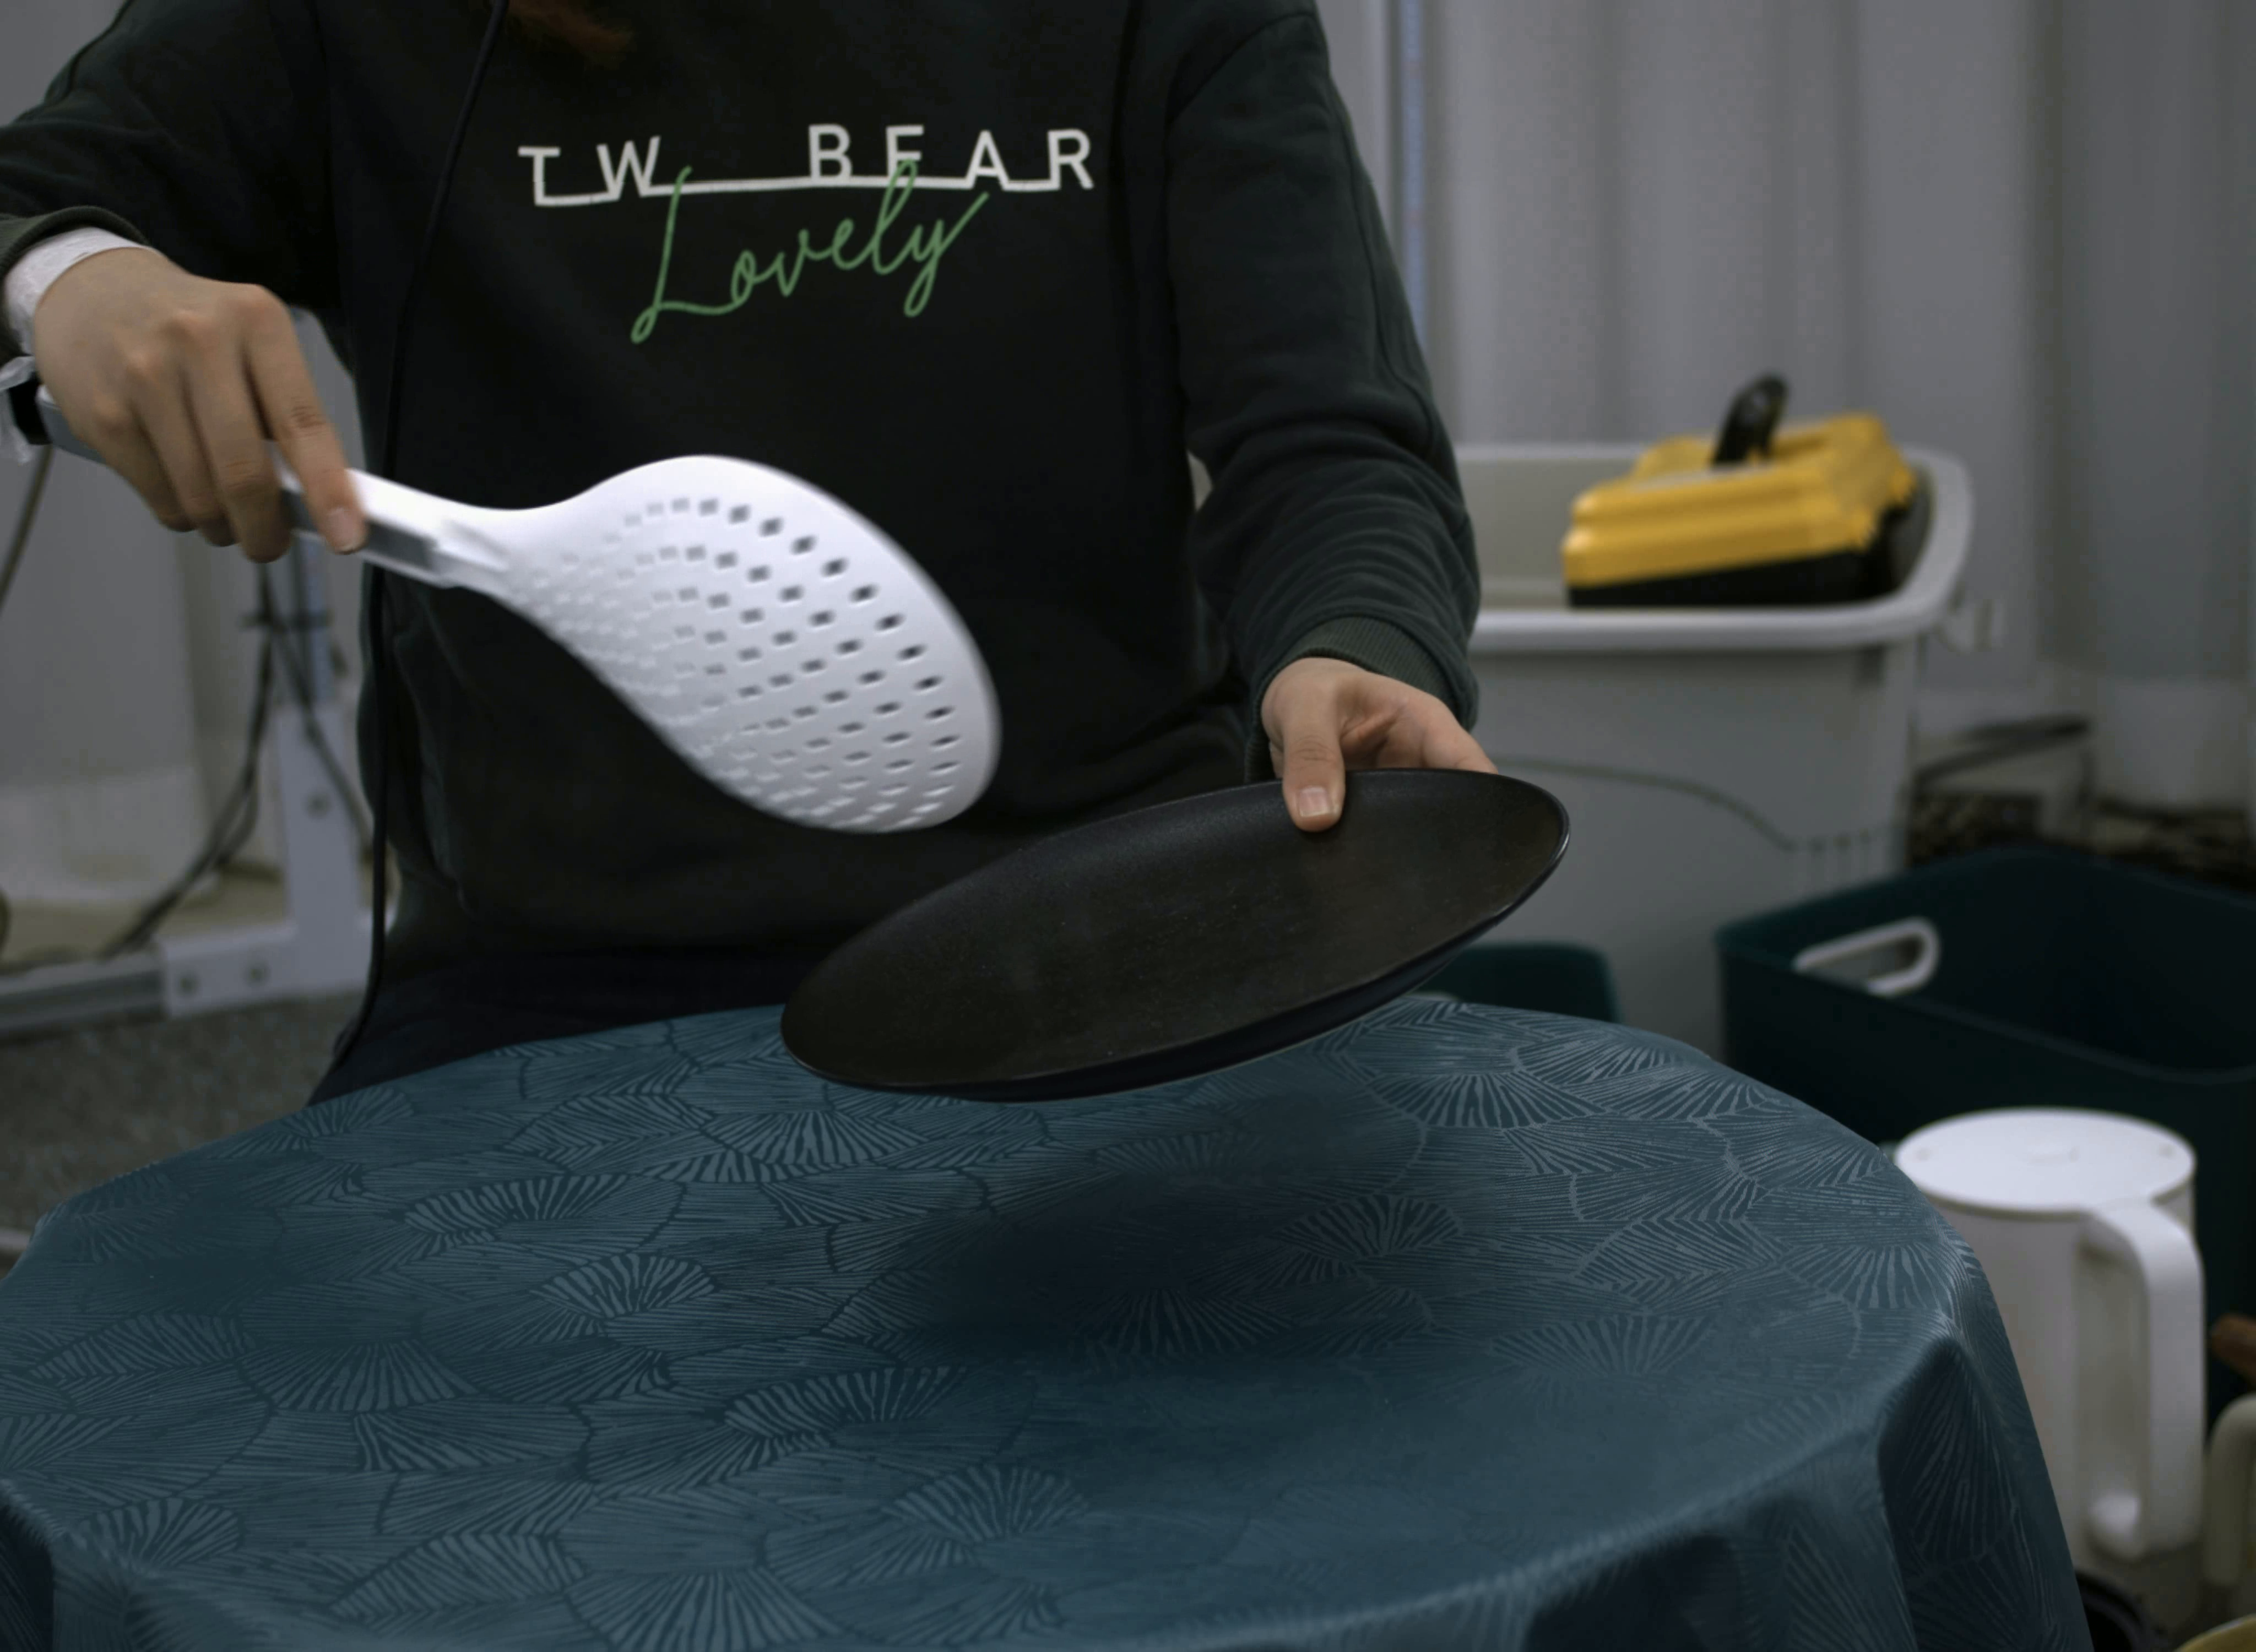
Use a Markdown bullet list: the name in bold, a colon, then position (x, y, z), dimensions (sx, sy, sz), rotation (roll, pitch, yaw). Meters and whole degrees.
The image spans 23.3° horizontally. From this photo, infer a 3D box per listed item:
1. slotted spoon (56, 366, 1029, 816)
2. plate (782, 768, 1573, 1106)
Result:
- **slotted spoon**: position (-0.183, -0.084, 1.639), dimensions (0.352, 0.134, 0.046), rotation (22, 49, 30)
- **plate**: position (0.016, 0.036, 1.628), dimensions (0.244, 0.023, 0.246), rotation (-14, 16, 4)
